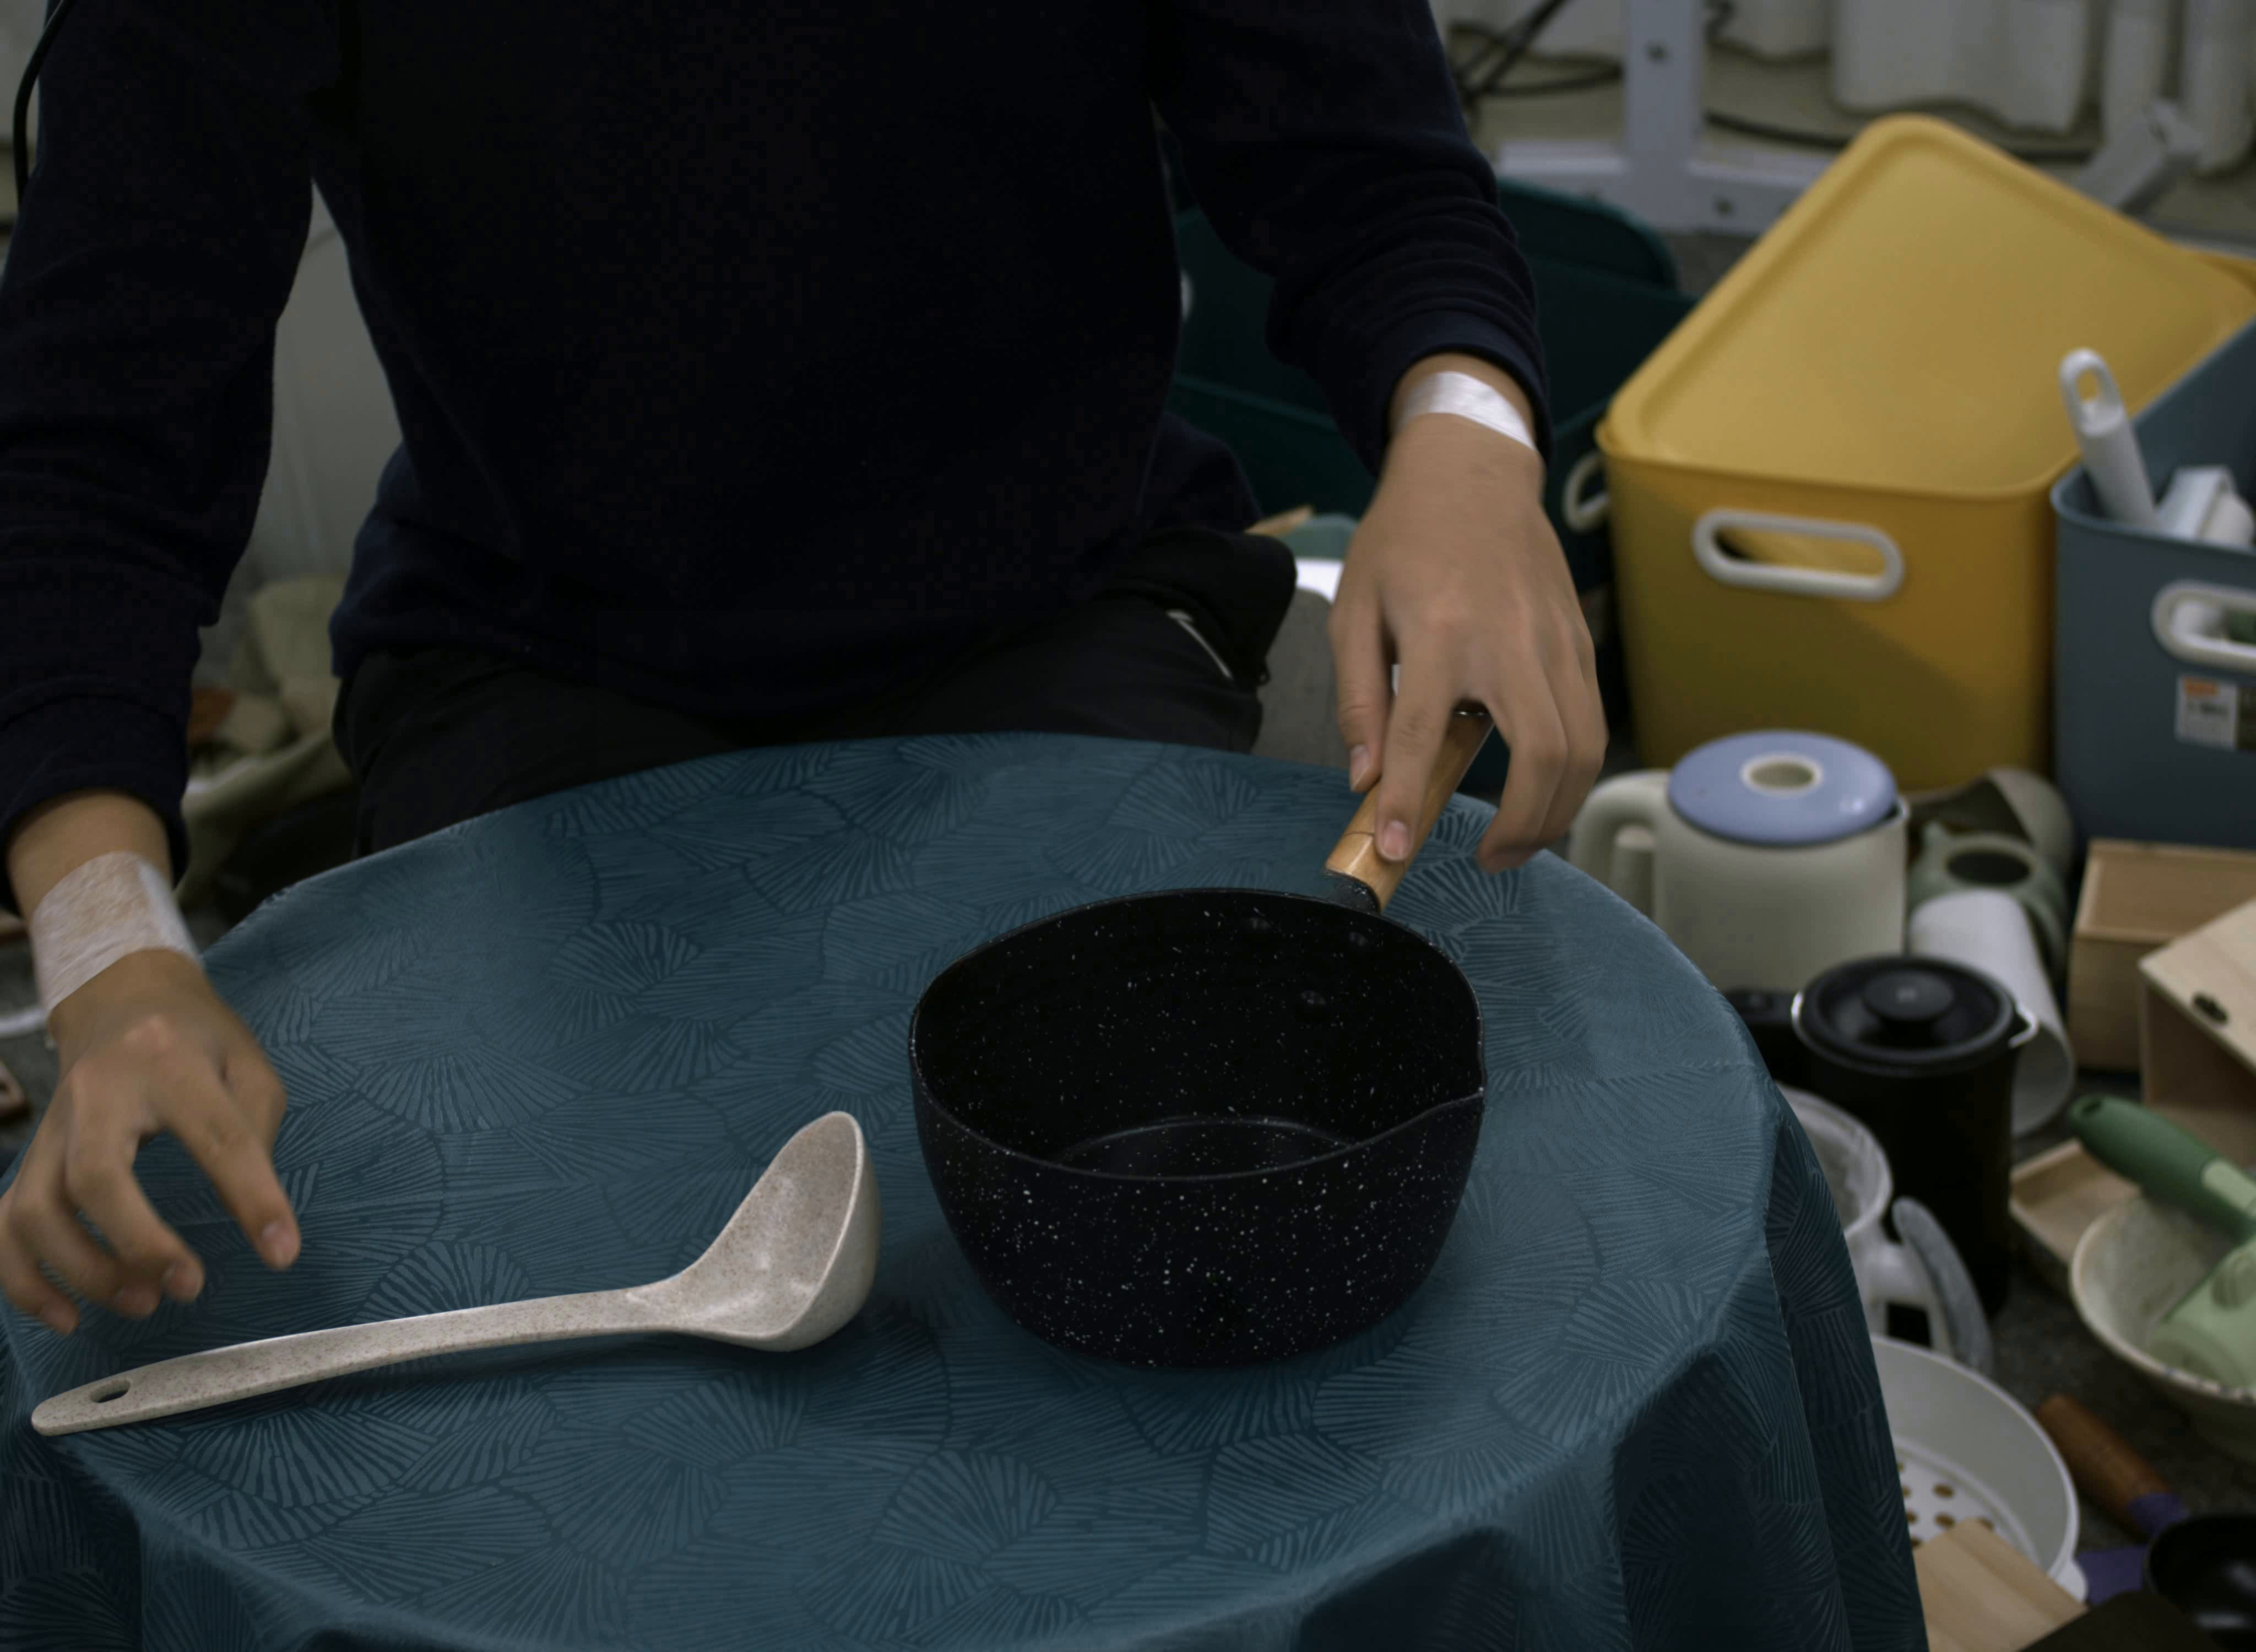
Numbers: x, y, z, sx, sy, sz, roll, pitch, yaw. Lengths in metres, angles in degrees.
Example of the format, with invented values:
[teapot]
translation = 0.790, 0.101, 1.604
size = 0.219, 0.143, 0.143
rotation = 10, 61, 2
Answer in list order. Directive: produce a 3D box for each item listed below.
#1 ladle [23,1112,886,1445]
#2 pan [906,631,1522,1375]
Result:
[ladle]
translation = -0.212, 0.145, 1.768
size = 0.274, 0.068, 0.090
rotation = -7, 34, -8
[pan]
translation = 0.056, 0.055, 1.870
size = 0.206, 0.107, 0.349
rotation = 8, 31, 23
